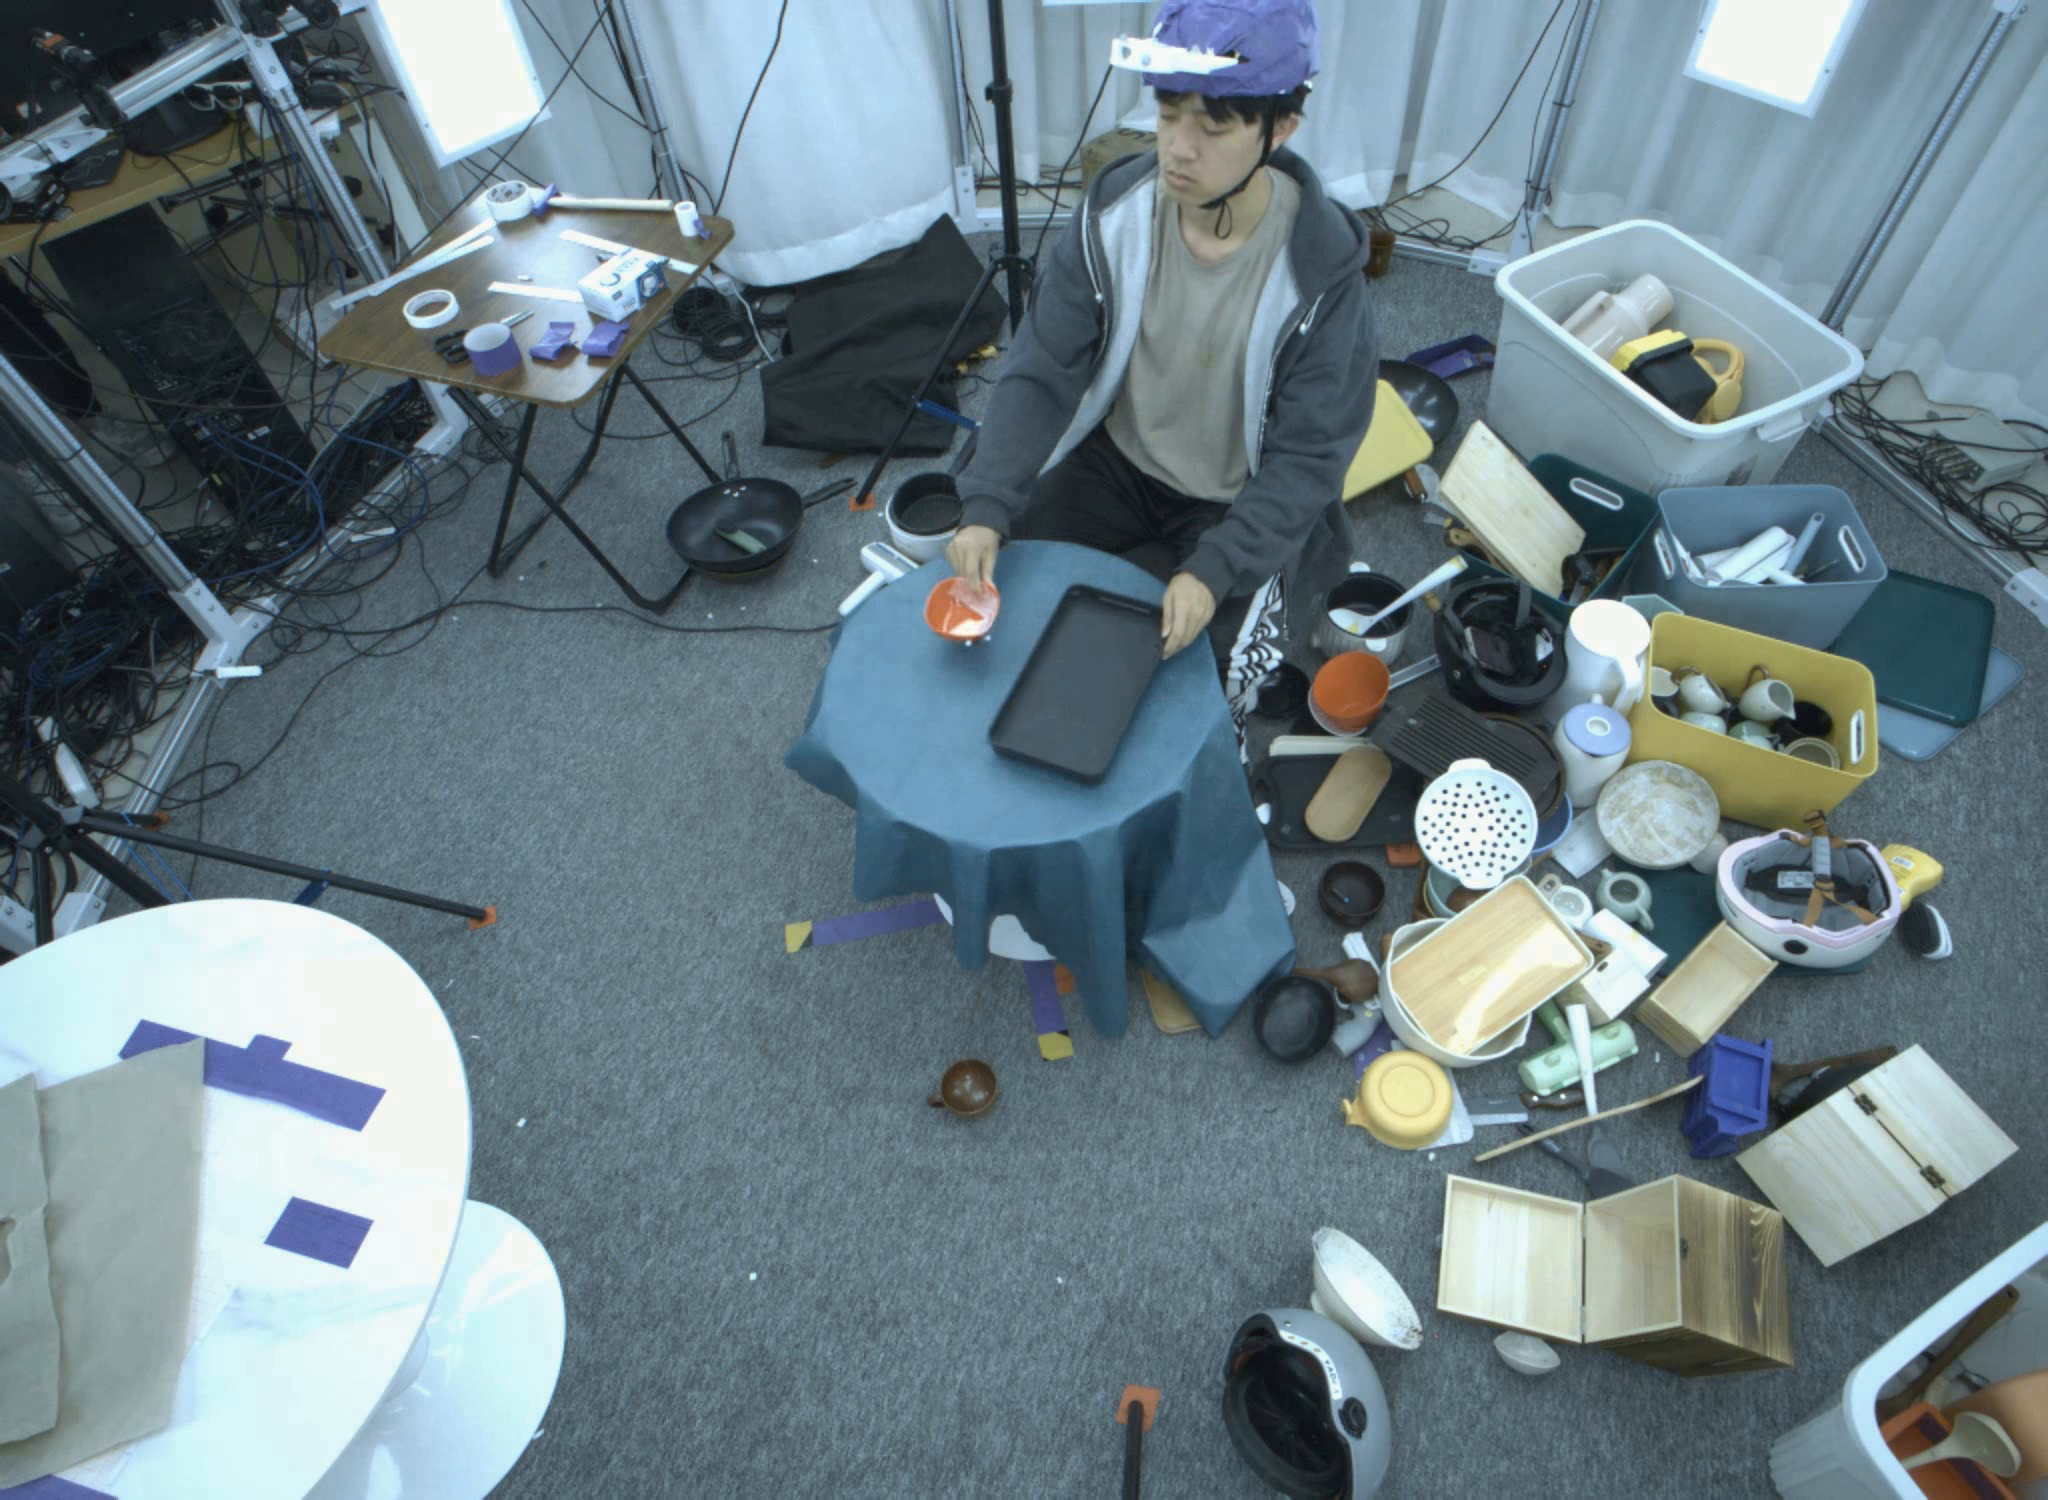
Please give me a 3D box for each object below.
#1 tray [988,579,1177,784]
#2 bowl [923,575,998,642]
[{"bbox_3d":[0.090,-0.106,1.810,0.182,0.037,0.318,19,62,15],"label":"tray"},{"bbox_3d":[-0.095,-0.206,1.856,0.119,0.052,0.118,0,61,1],"label":"bowl"}]
